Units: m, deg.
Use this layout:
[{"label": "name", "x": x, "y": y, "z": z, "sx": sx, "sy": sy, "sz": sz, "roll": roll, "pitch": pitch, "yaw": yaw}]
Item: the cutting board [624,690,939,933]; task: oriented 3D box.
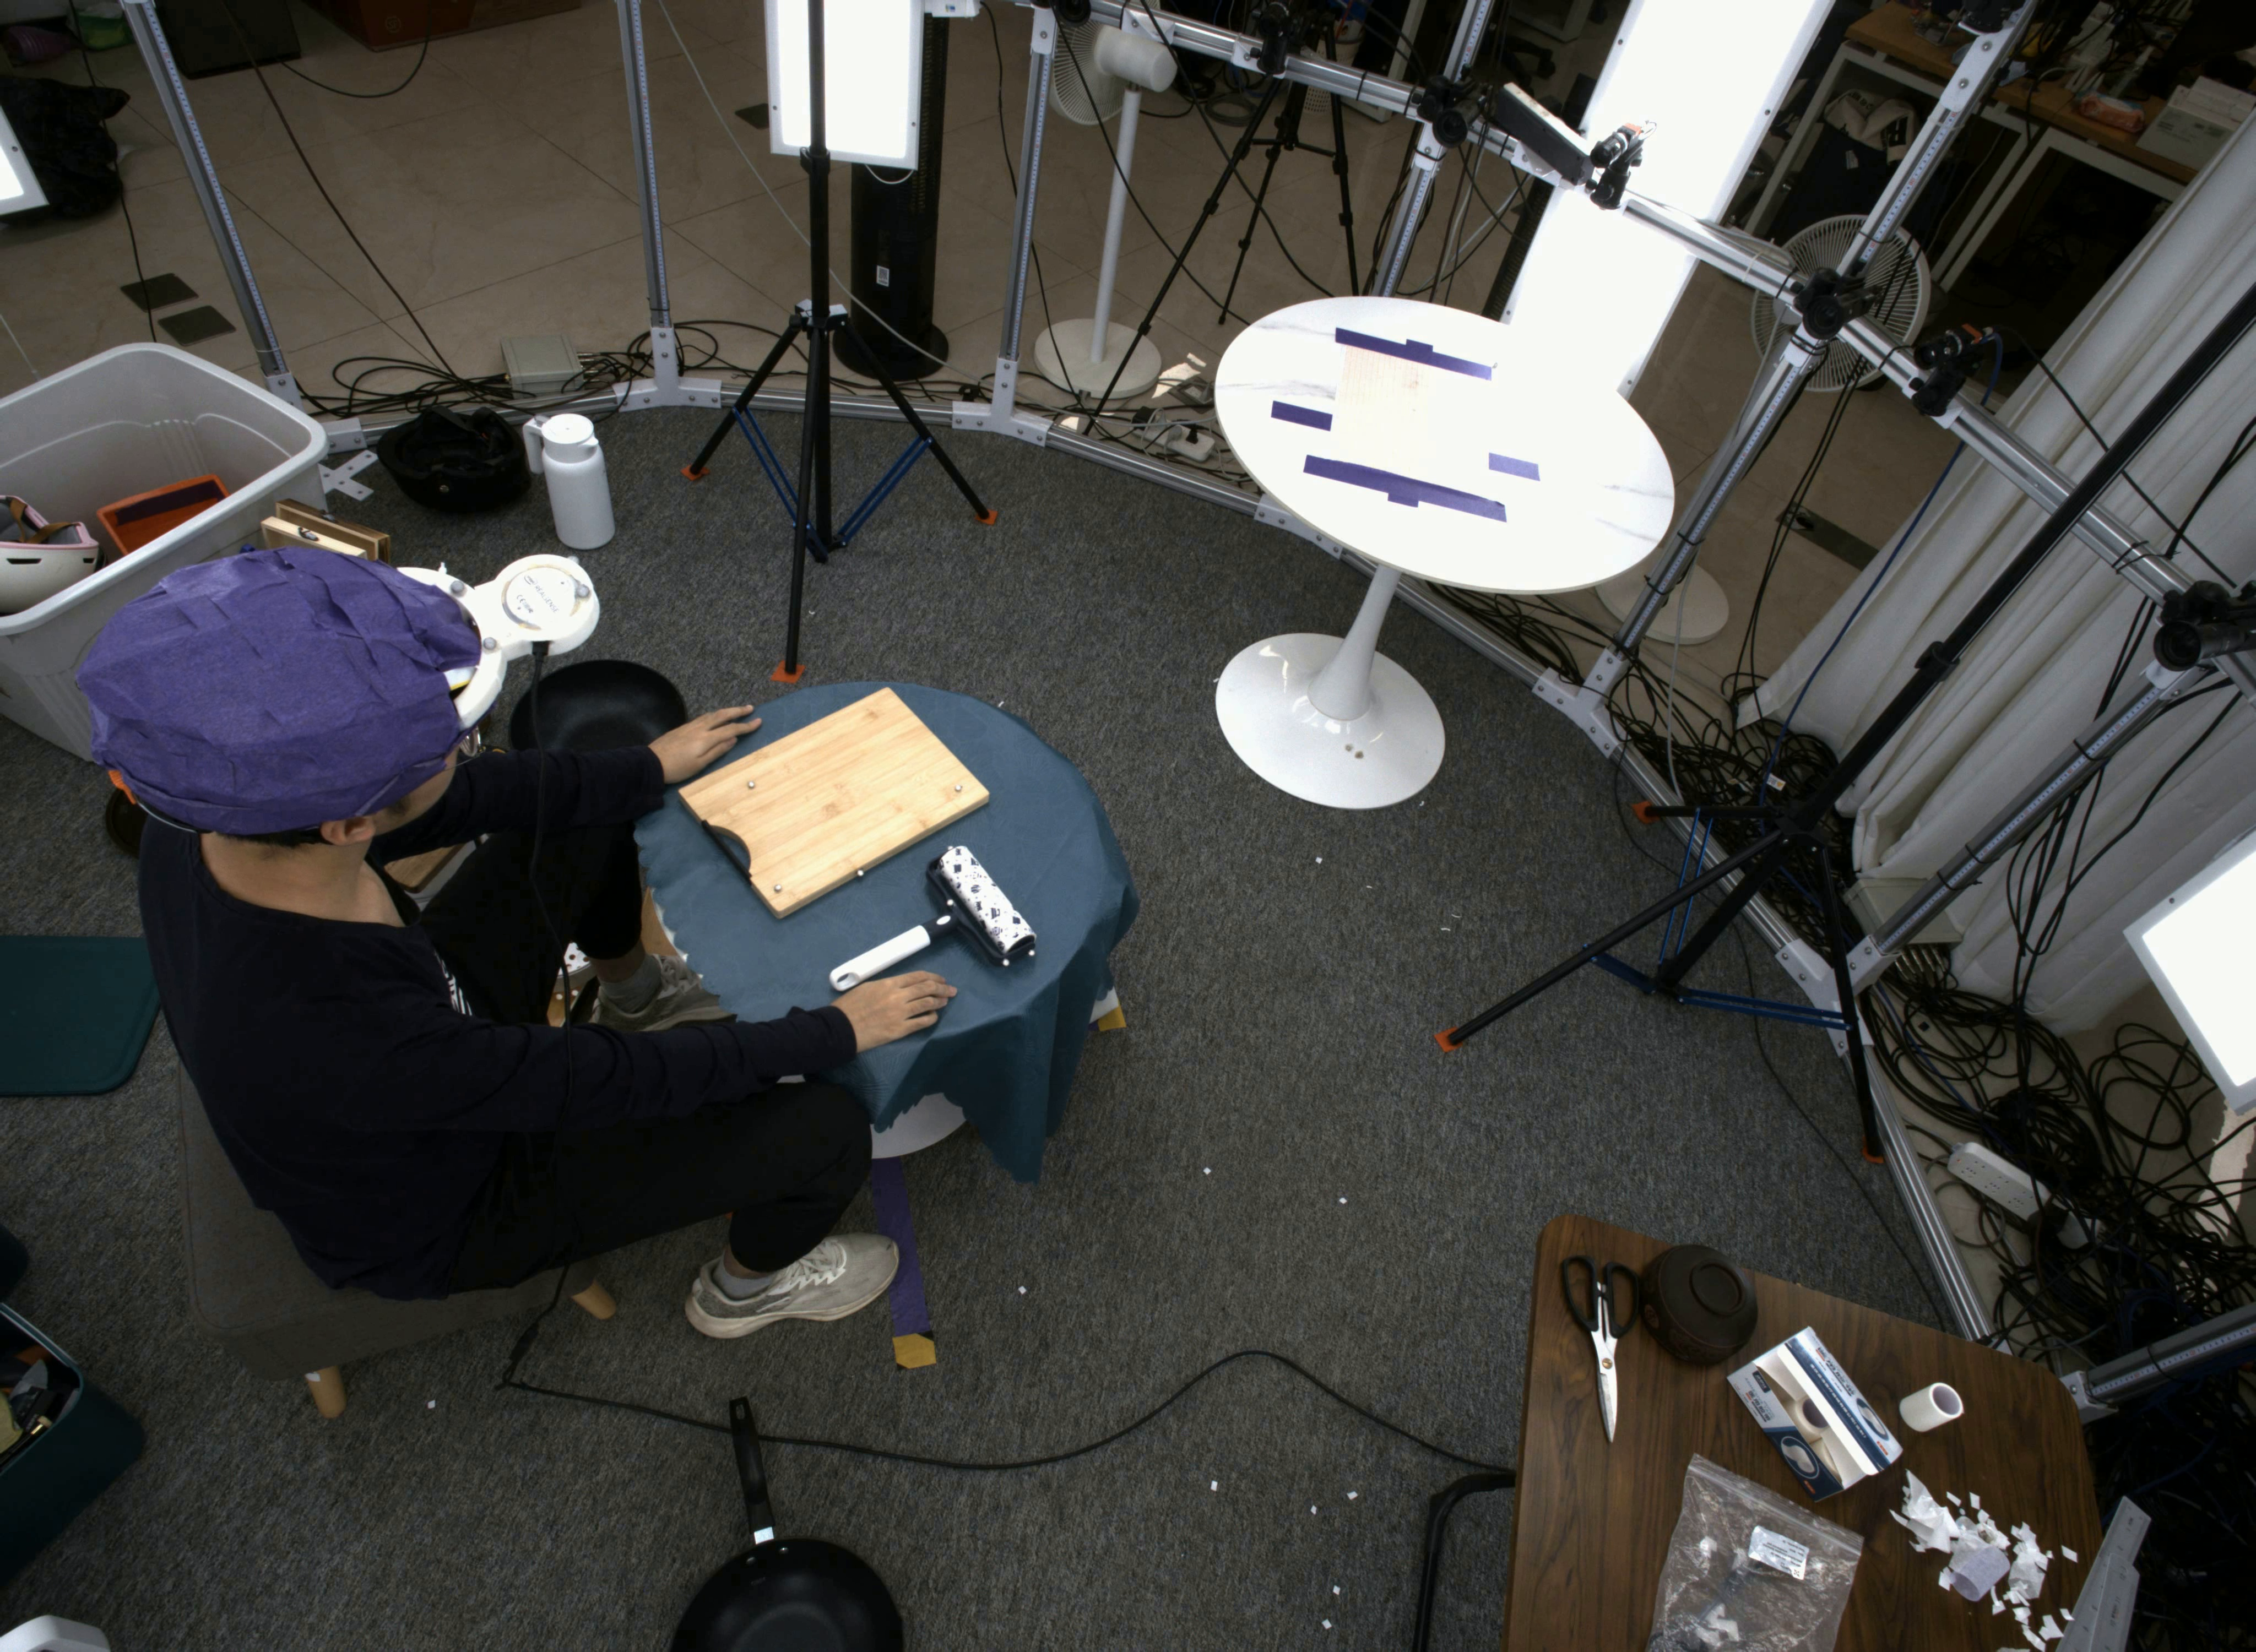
[{"label": "cutting board", "x": -0.460, "y": -0.031, "z": 1.739, "sx": 0.245, "sy": 0.024, "sz": 0.349, "roll": 42, "pitch": 55, "yaw": 18}]

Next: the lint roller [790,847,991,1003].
[{"label": "lint roller", "x": -0.315, "y": 0.143, "z": 1.631, "sx": 0.248, "sy": 0.051, "sz": 0.172, "roll": -32, "pitch": 68, "yaw": -29}]
